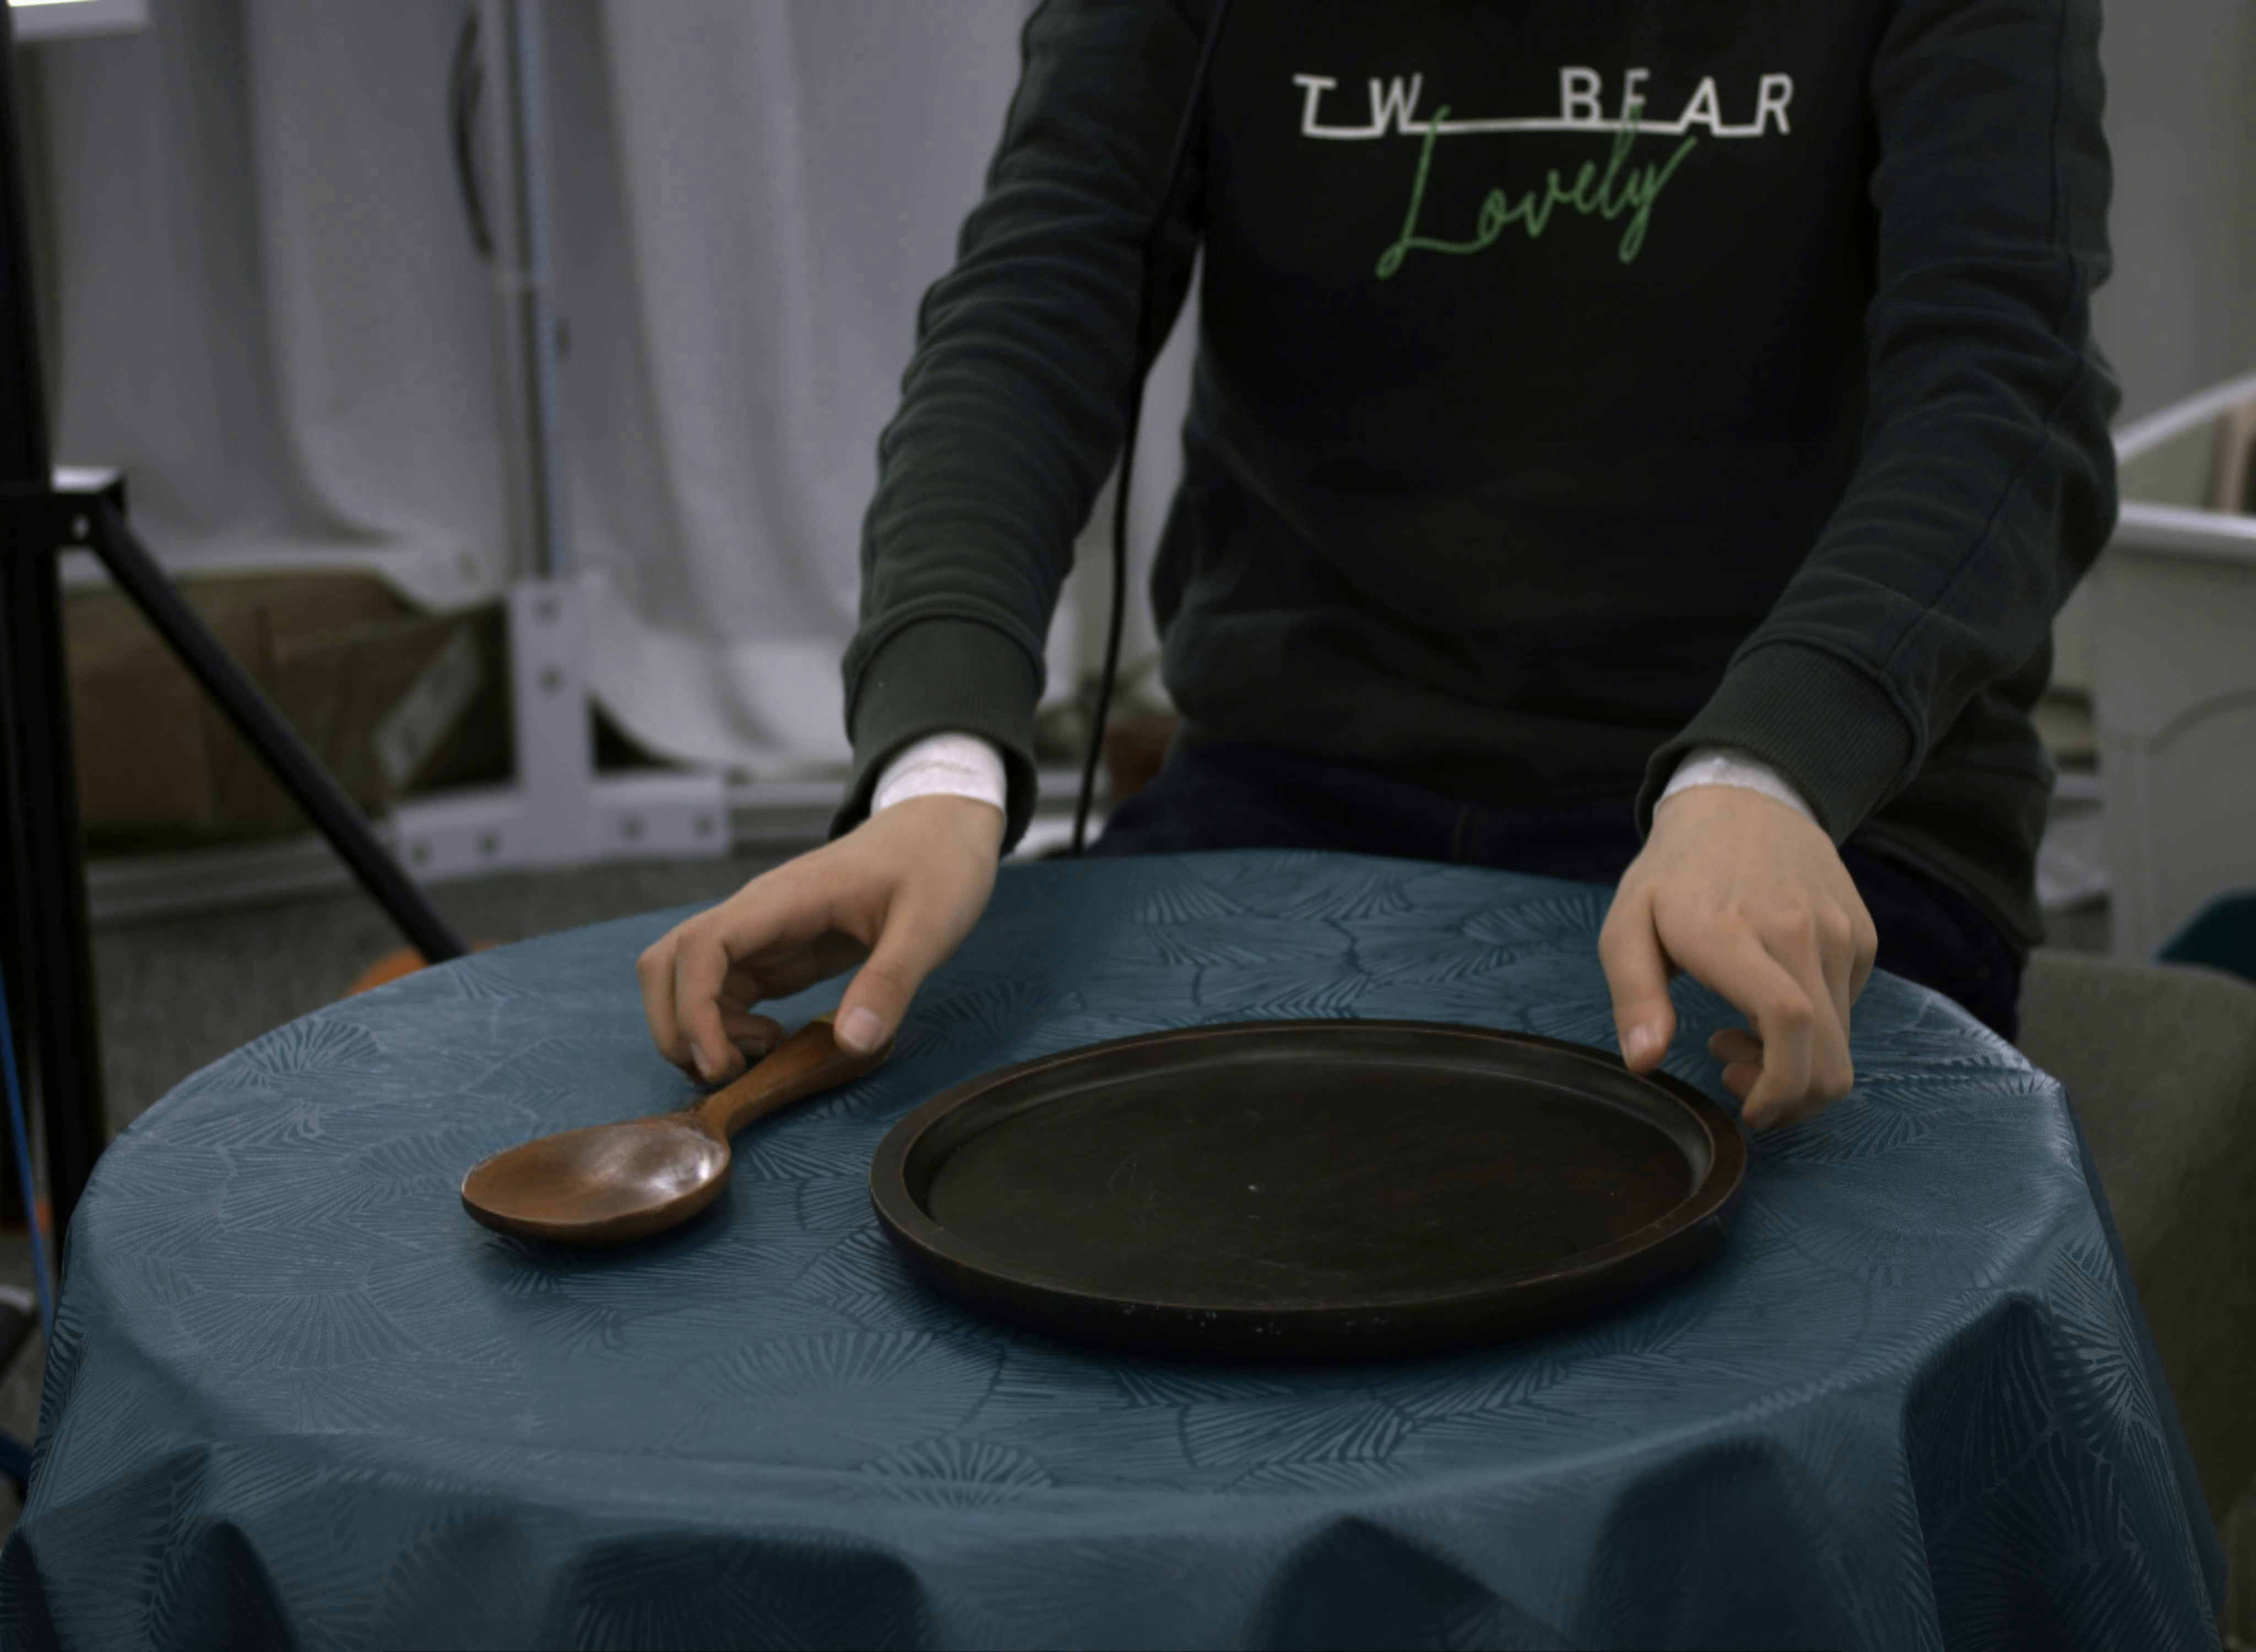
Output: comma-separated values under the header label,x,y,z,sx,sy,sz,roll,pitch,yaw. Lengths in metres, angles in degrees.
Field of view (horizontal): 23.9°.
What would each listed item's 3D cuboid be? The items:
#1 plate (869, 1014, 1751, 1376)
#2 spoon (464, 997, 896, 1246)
label,x,y,z,sx,sy,sz,roll,pitch,yaw
plate,0.052,0.104,1.522,0.253,0.029,0.256,-2,17,-1
spoon,-0.126,0.090,1.609,0.076,0.017,0.212,5,18,25
